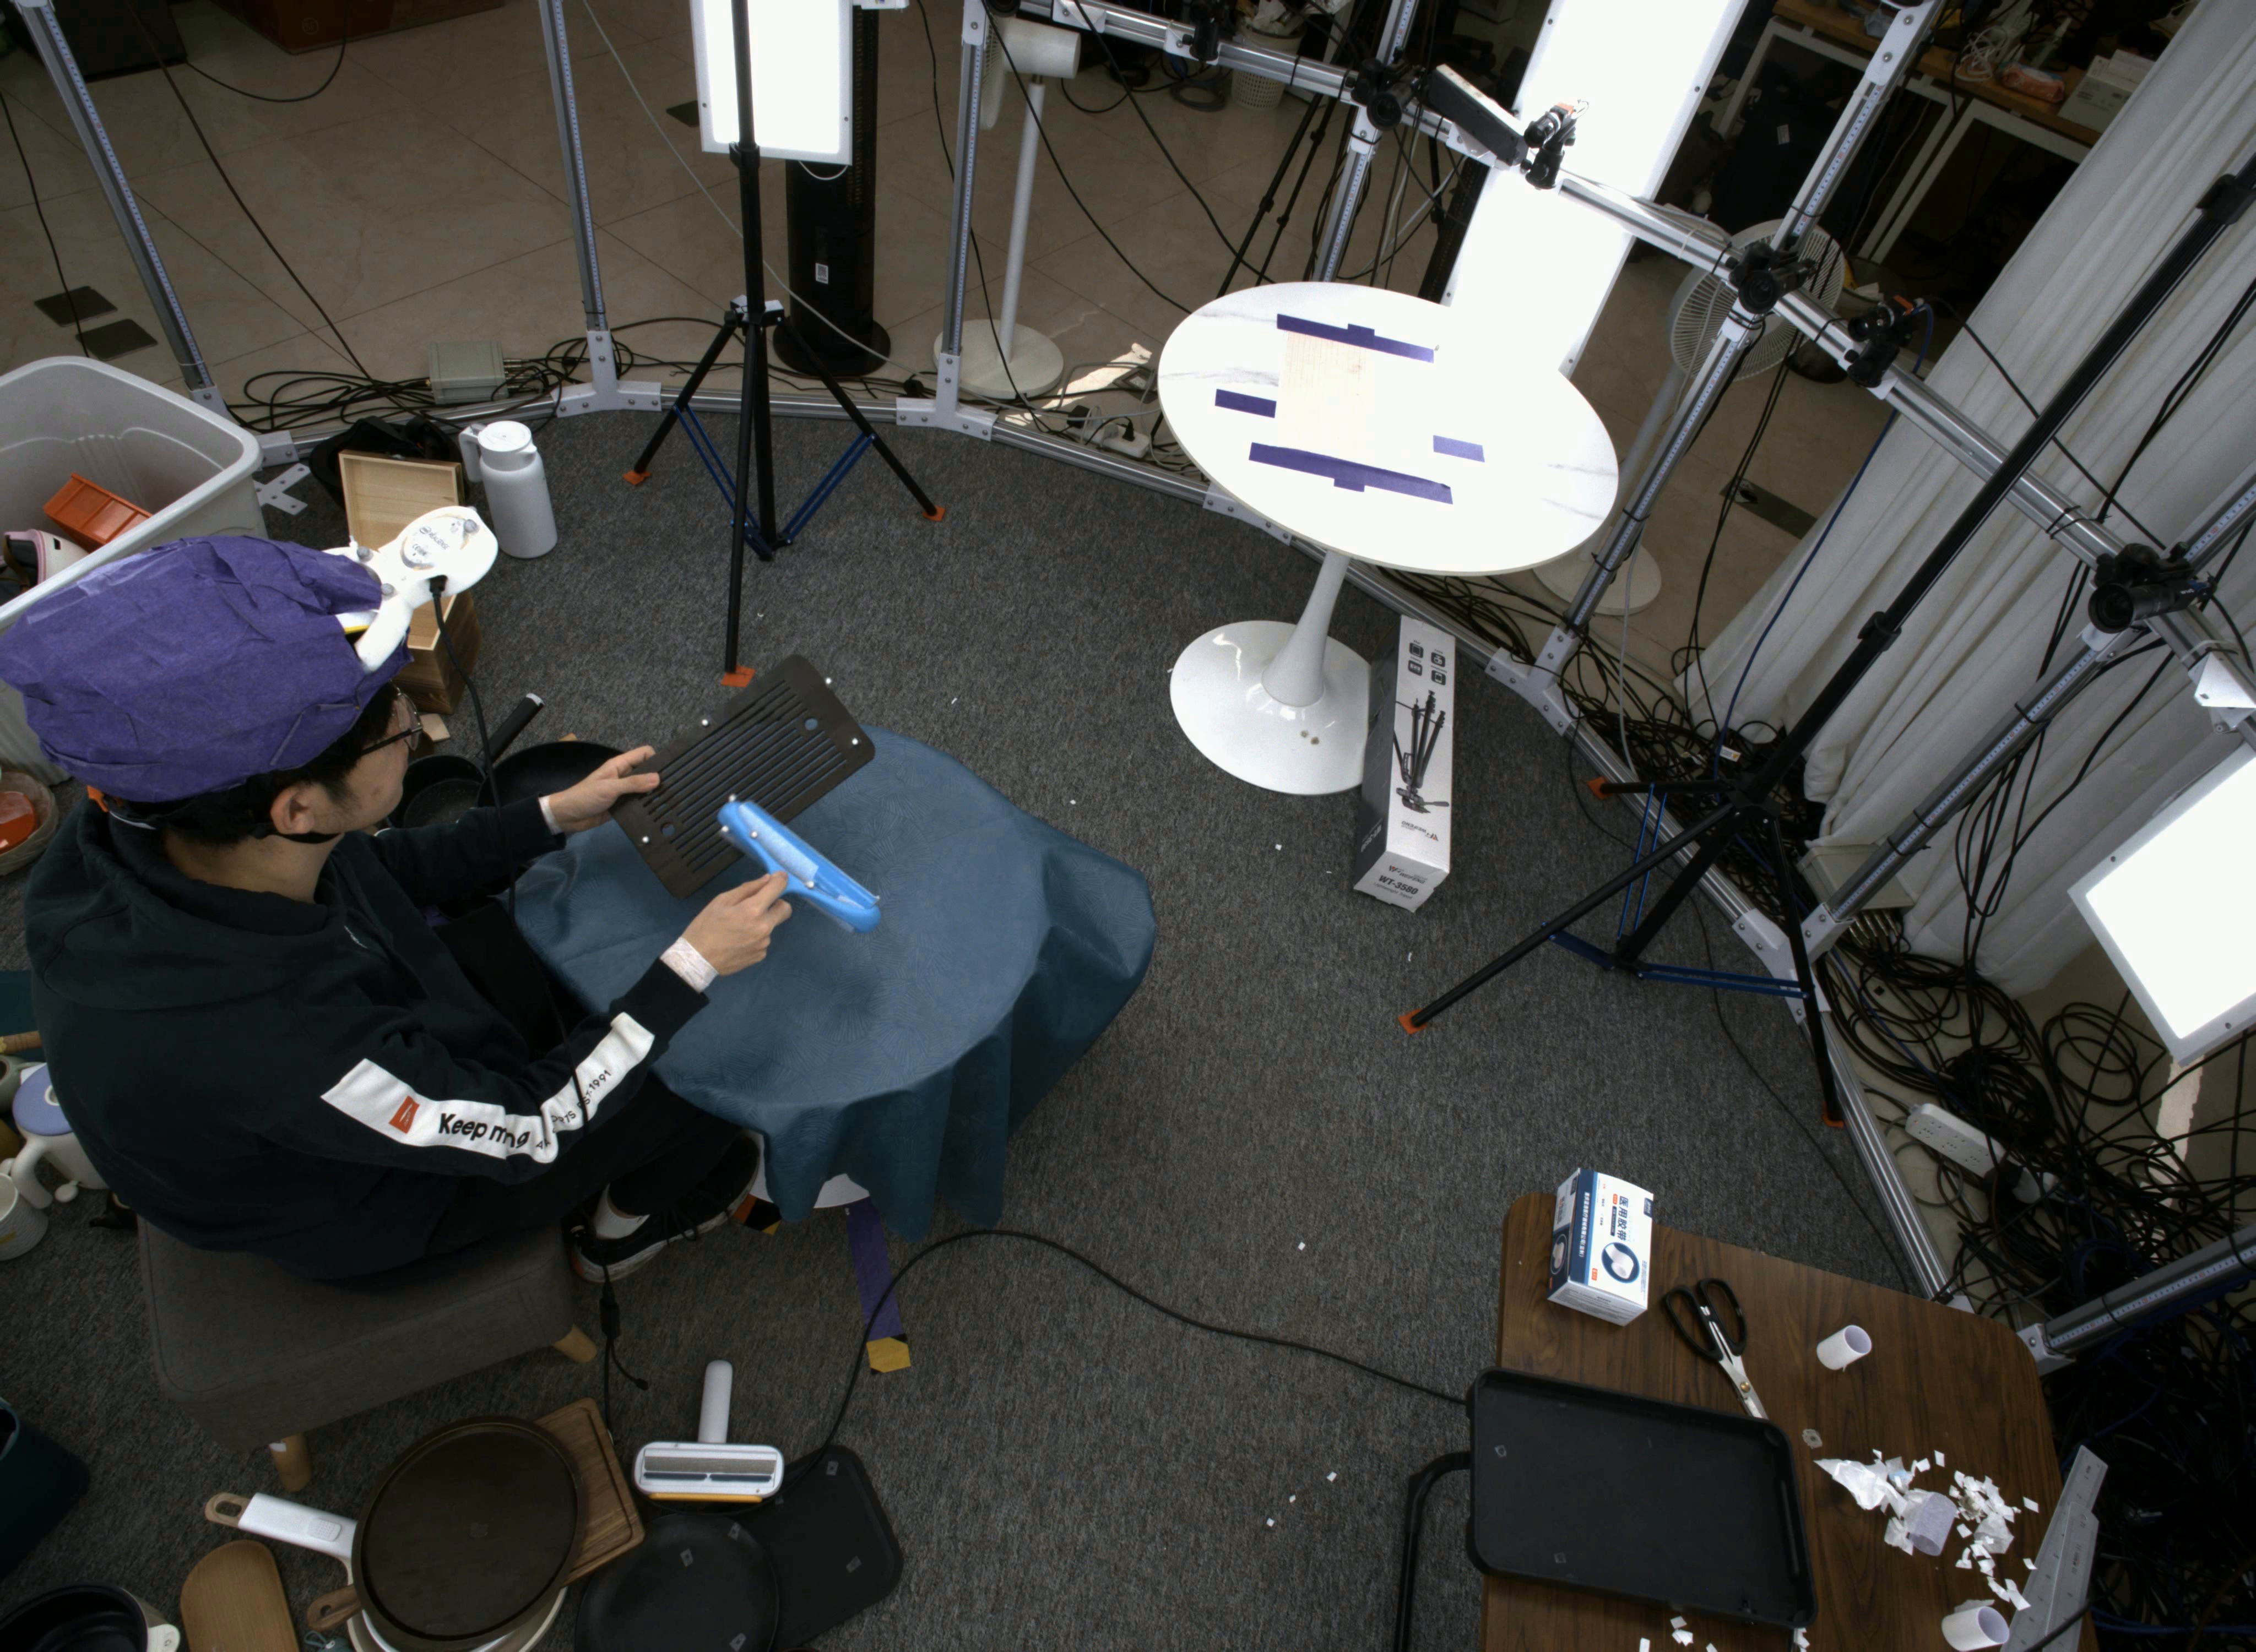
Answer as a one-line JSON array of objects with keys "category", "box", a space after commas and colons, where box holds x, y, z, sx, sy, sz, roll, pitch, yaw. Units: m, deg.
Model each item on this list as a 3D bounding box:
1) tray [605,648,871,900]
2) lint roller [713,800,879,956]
[{"category": "tray", "box": [-0.480, -0.066, 1.588, 0.305, 0.018, 0.170, -39, 87, -10]}, {"category": "lint roller", "box": [-0.409, 0.077, 1.495, 0.231, 0.068, 0.178, 37, 35, -11]}]
